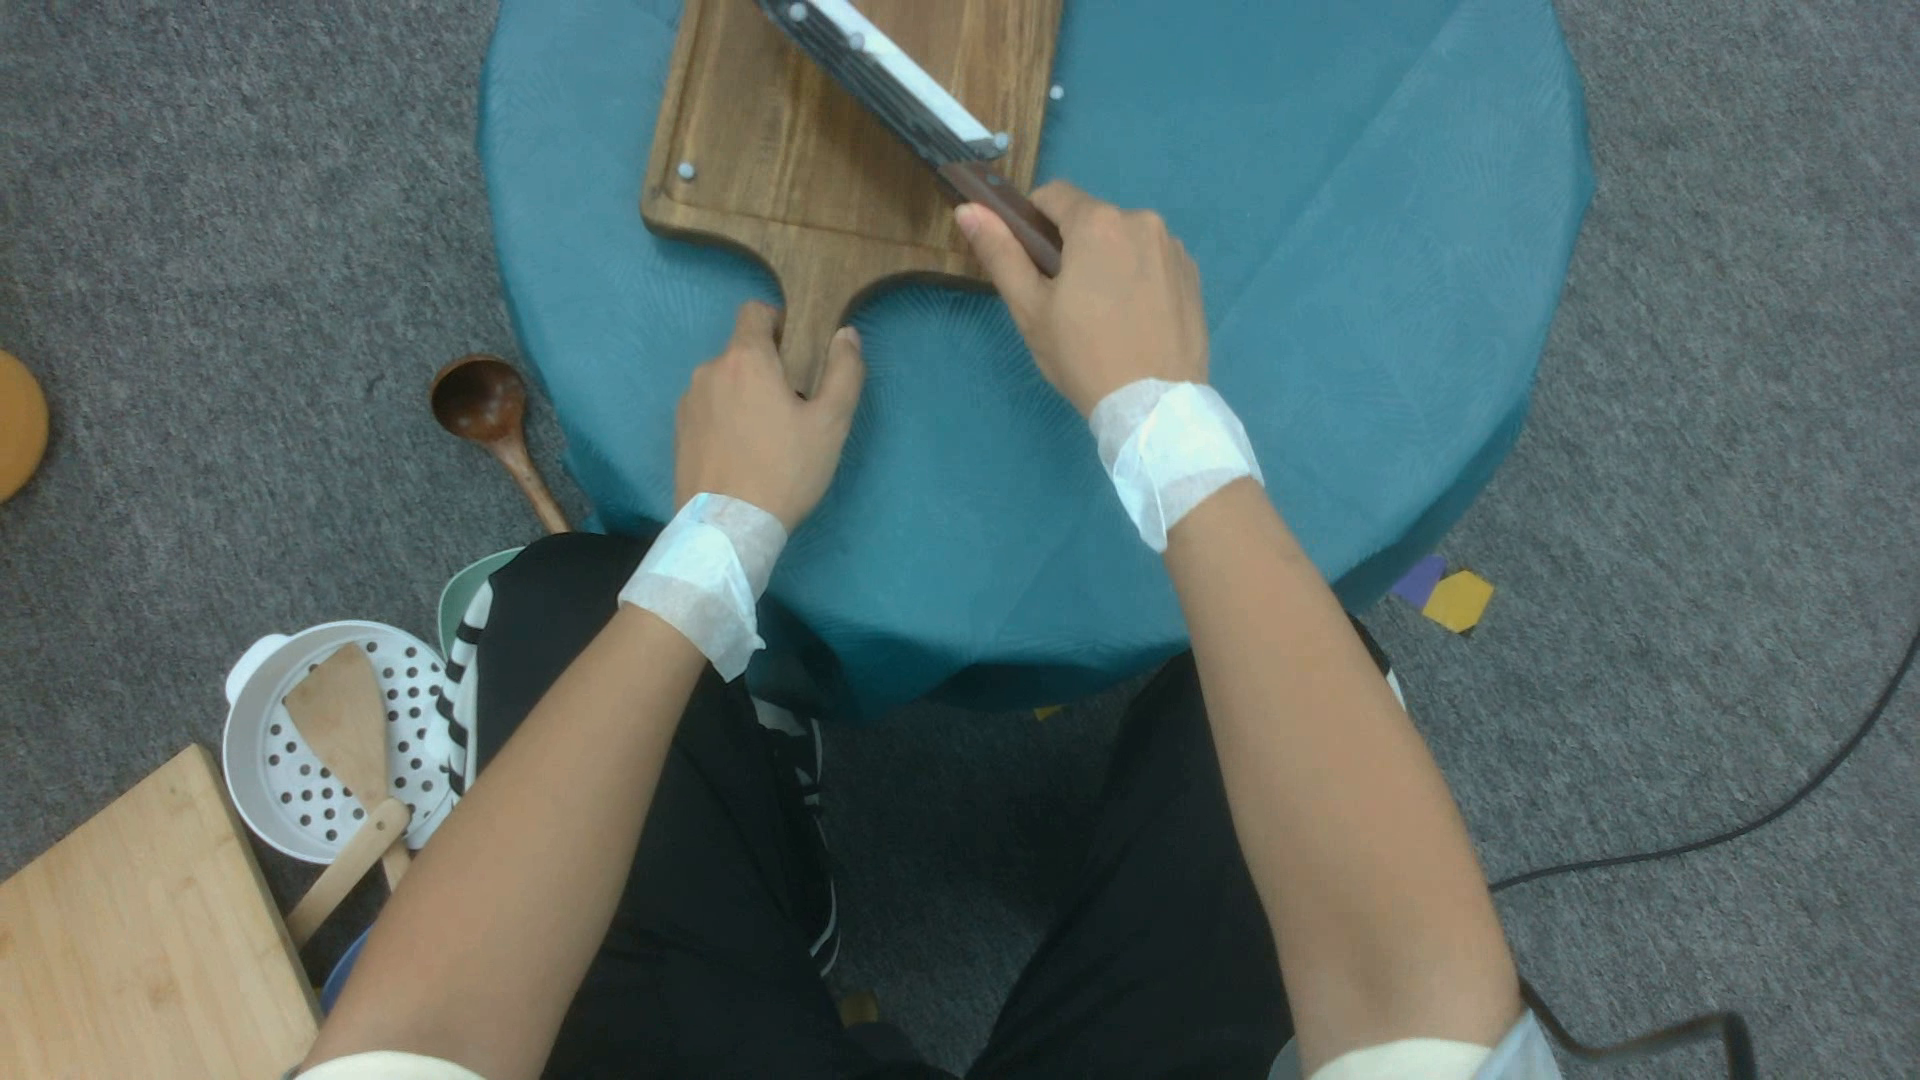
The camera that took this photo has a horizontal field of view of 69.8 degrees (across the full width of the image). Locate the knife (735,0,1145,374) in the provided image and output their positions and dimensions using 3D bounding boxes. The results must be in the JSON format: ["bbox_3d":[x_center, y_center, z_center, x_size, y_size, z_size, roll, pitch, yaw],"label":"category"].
[{"bbox_3d":[-0.013,-0.191,0.681,0.299,0.024,0.068,44,39,9],"label":"knife"}]

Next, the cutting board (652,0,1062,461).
[{"bbox_3d":[-0.056,-0.213,0.742,0.201,0.023,0.353,9,77,0],"label":"cutting board"}]
